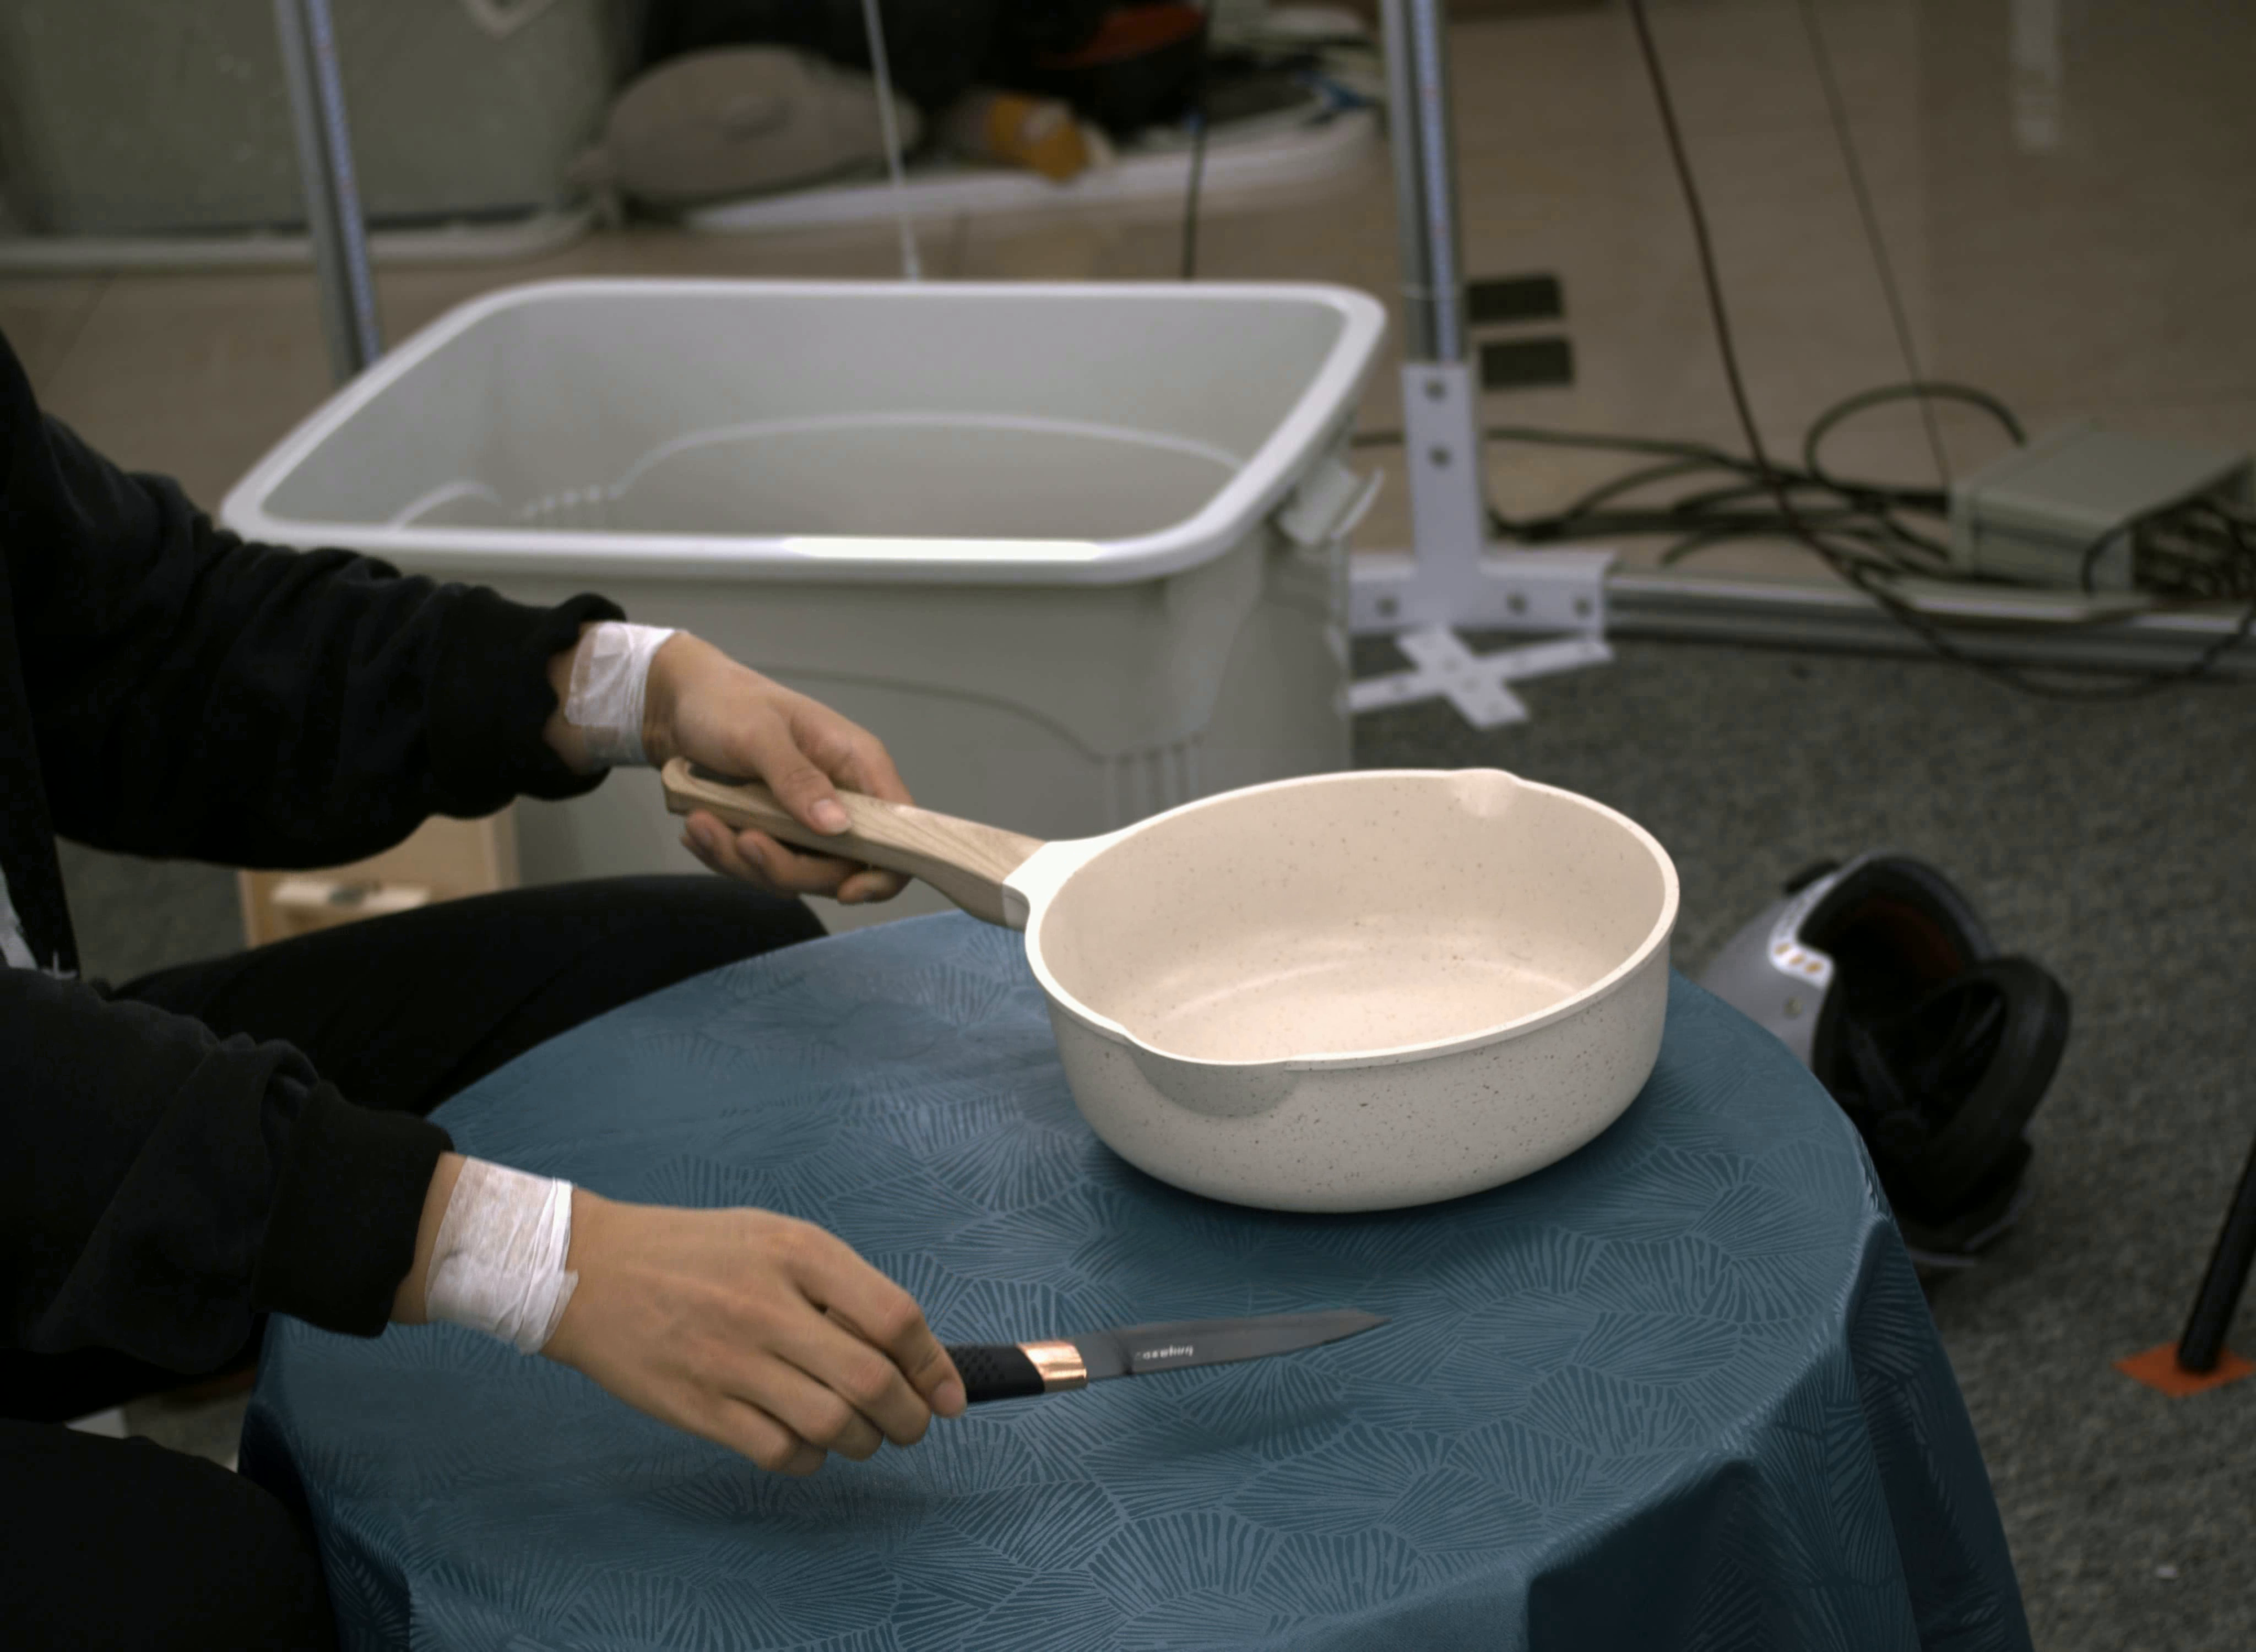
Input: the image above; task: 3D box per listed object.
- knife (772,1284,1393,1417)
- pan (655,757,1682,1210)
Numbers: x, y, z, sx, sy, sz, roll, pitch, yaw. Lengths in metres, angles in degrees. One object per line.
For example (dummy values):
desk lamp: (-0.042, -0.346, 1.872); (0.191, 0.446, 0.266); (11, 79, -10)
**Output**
knife: (-0.014, 0.181, 1.967); (0.225, 0.017, 0.026); (-7, 37, -12)
pan: (0.009, 0.048, 2.224); (0.433, 0.103, 0.260); (7, 30, 27)
